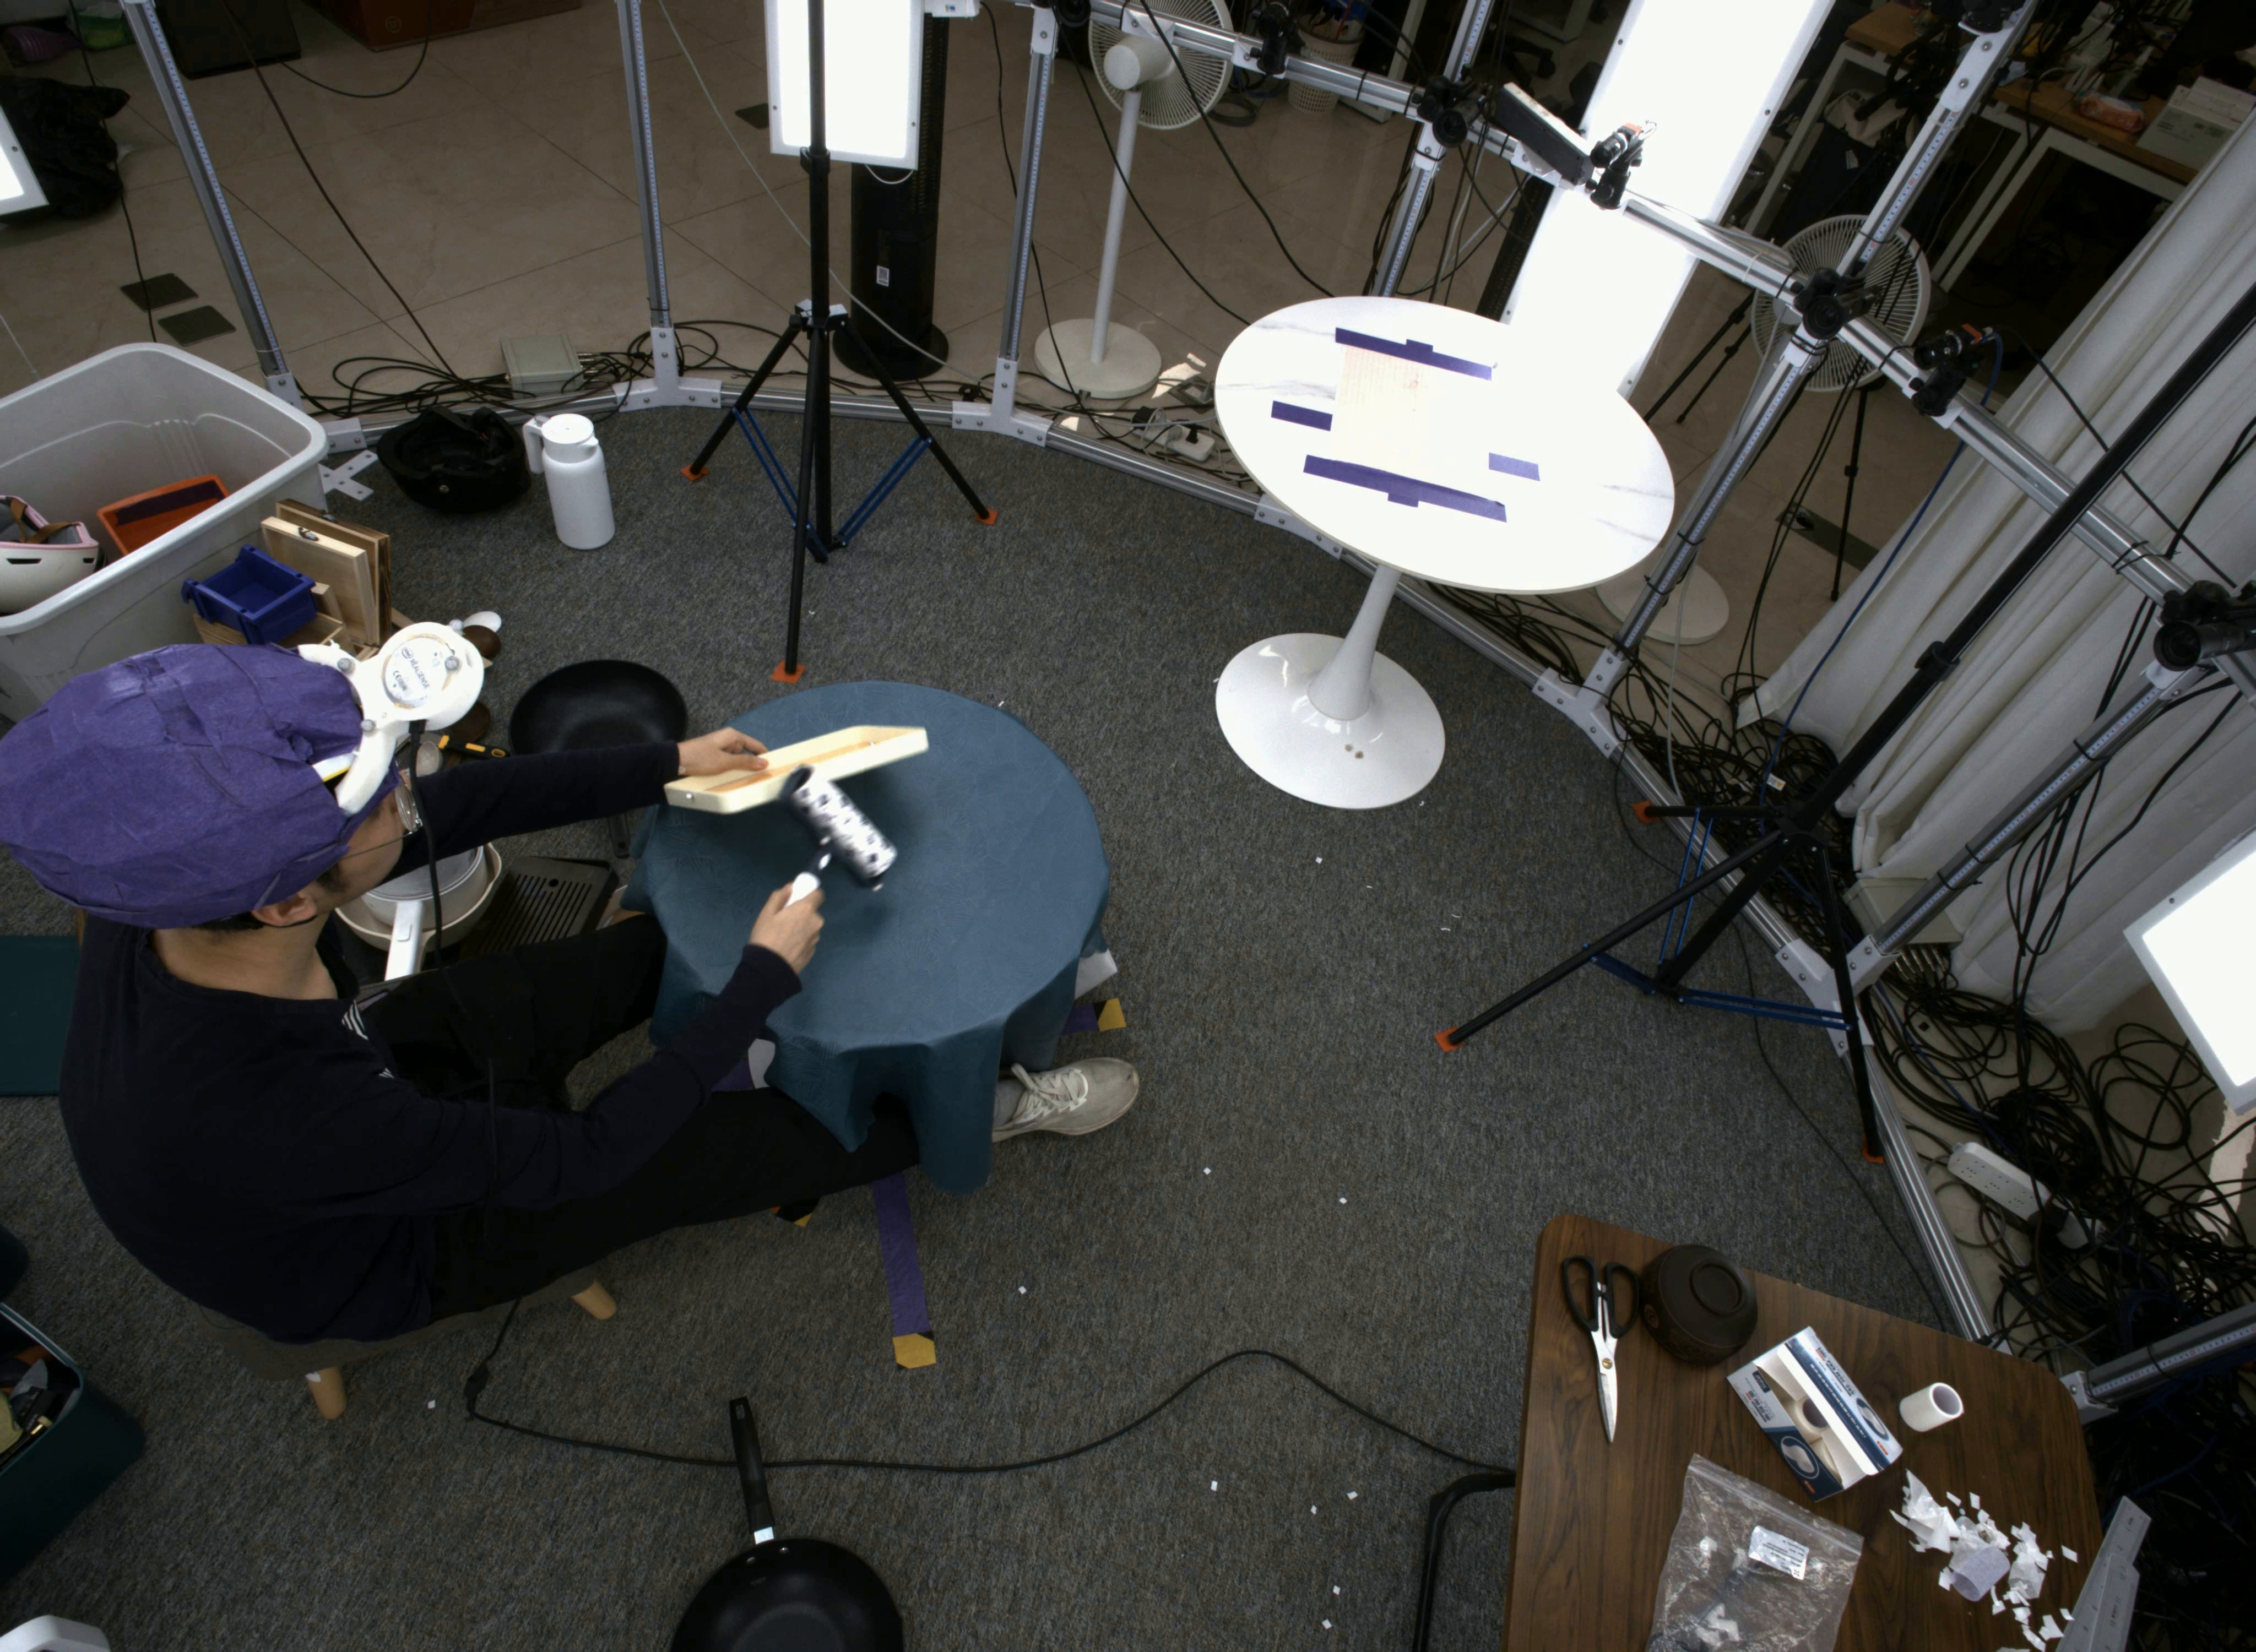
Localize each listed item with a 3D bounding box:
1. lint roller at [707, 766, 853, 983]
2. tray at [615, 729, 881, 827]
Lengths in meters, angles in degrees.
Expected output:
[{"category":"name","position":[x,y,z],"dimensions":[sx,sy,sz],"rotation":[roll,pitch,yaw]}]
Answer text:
[{"category":"lint roller","position":[-0.428,0.074,1.524],"dimensions":[0.049,0.183,0.244],"rotation":[-7,49,32]},{"category":"tray","position":[-0.484,-0.067,1.646],"dimensions":[0.185,0.028,0.302],"rotation":[9,25,45]}]
